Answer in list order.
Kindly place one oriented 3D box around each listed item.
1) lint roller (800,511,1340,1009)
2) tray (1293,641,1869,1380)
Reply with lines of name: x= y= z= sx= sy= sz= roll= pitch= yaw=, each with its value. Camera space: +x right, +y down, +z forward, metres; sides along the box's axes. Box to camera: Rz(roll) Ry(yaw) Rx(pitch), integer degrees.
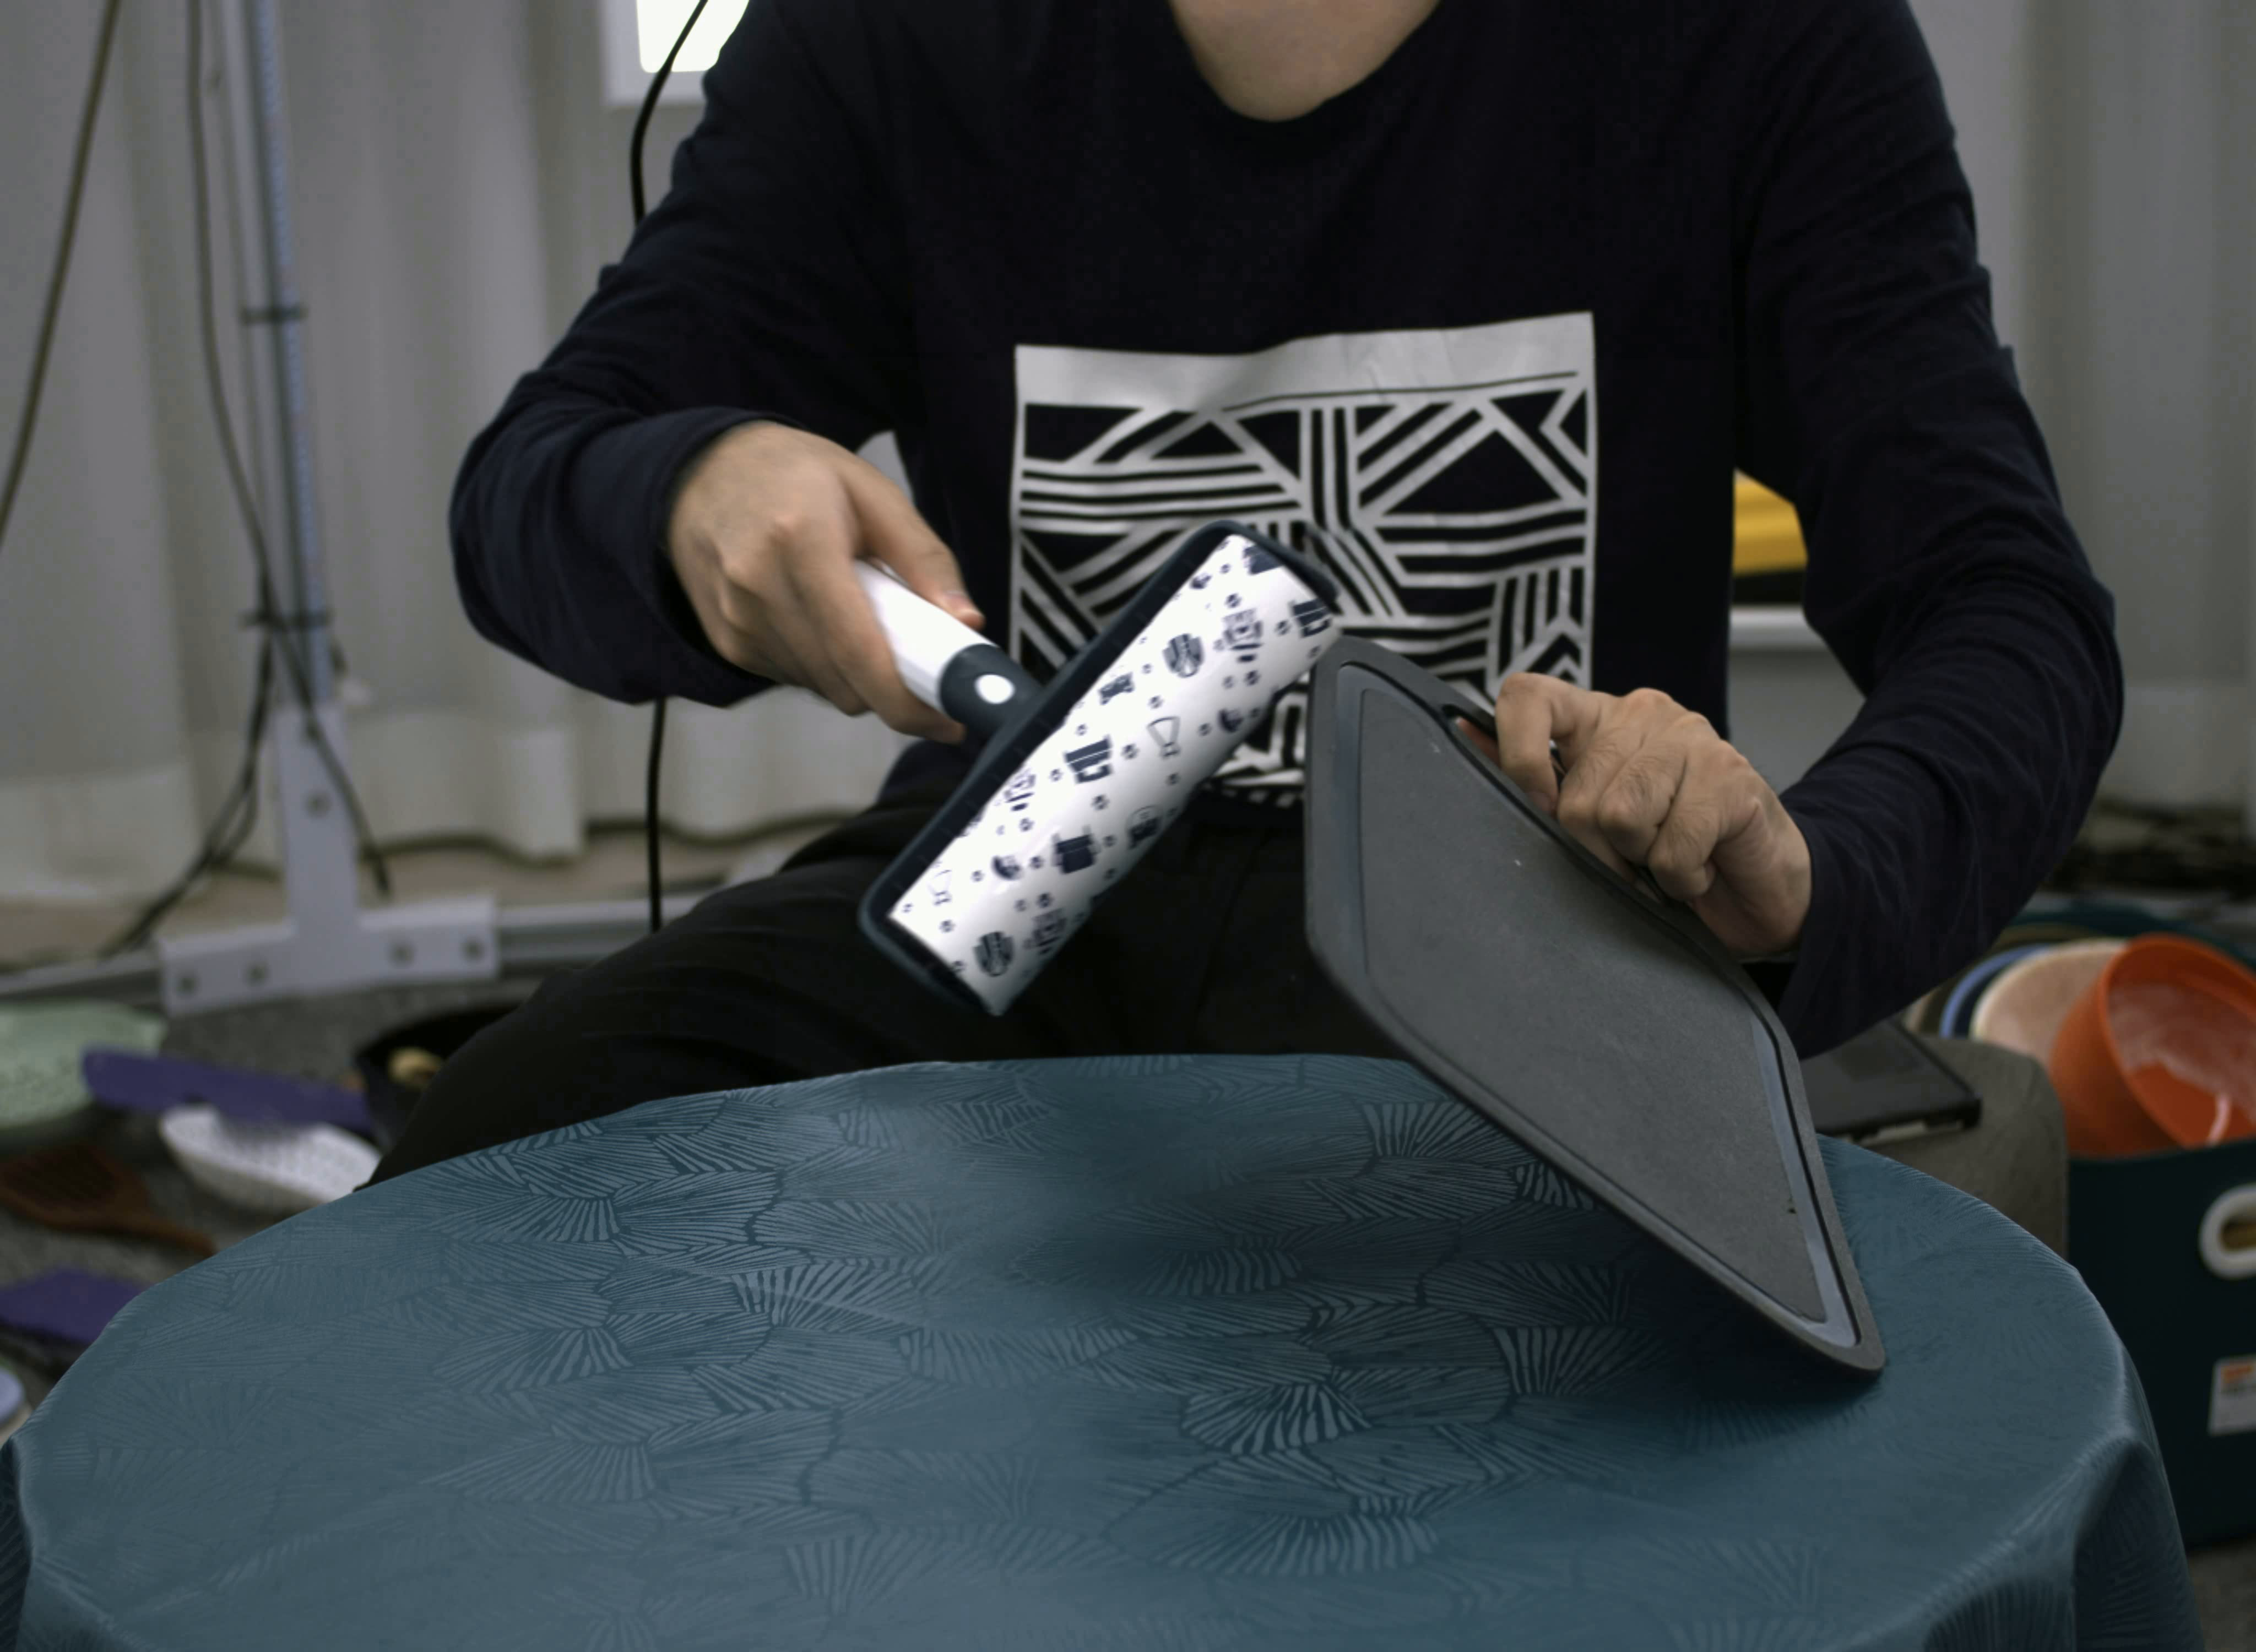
lint roller: x=-0.052 y=-0.048 z=1.757 sx=0.177 sy=0.050 sz=0.249 roll=-49 pitch=35 yaw=-7
tray: x=0.133 y=0.043 z=1.635 sx=0.210 sy=0.010 sz=0.328 roll=38 pitch=18 yaw=-11
